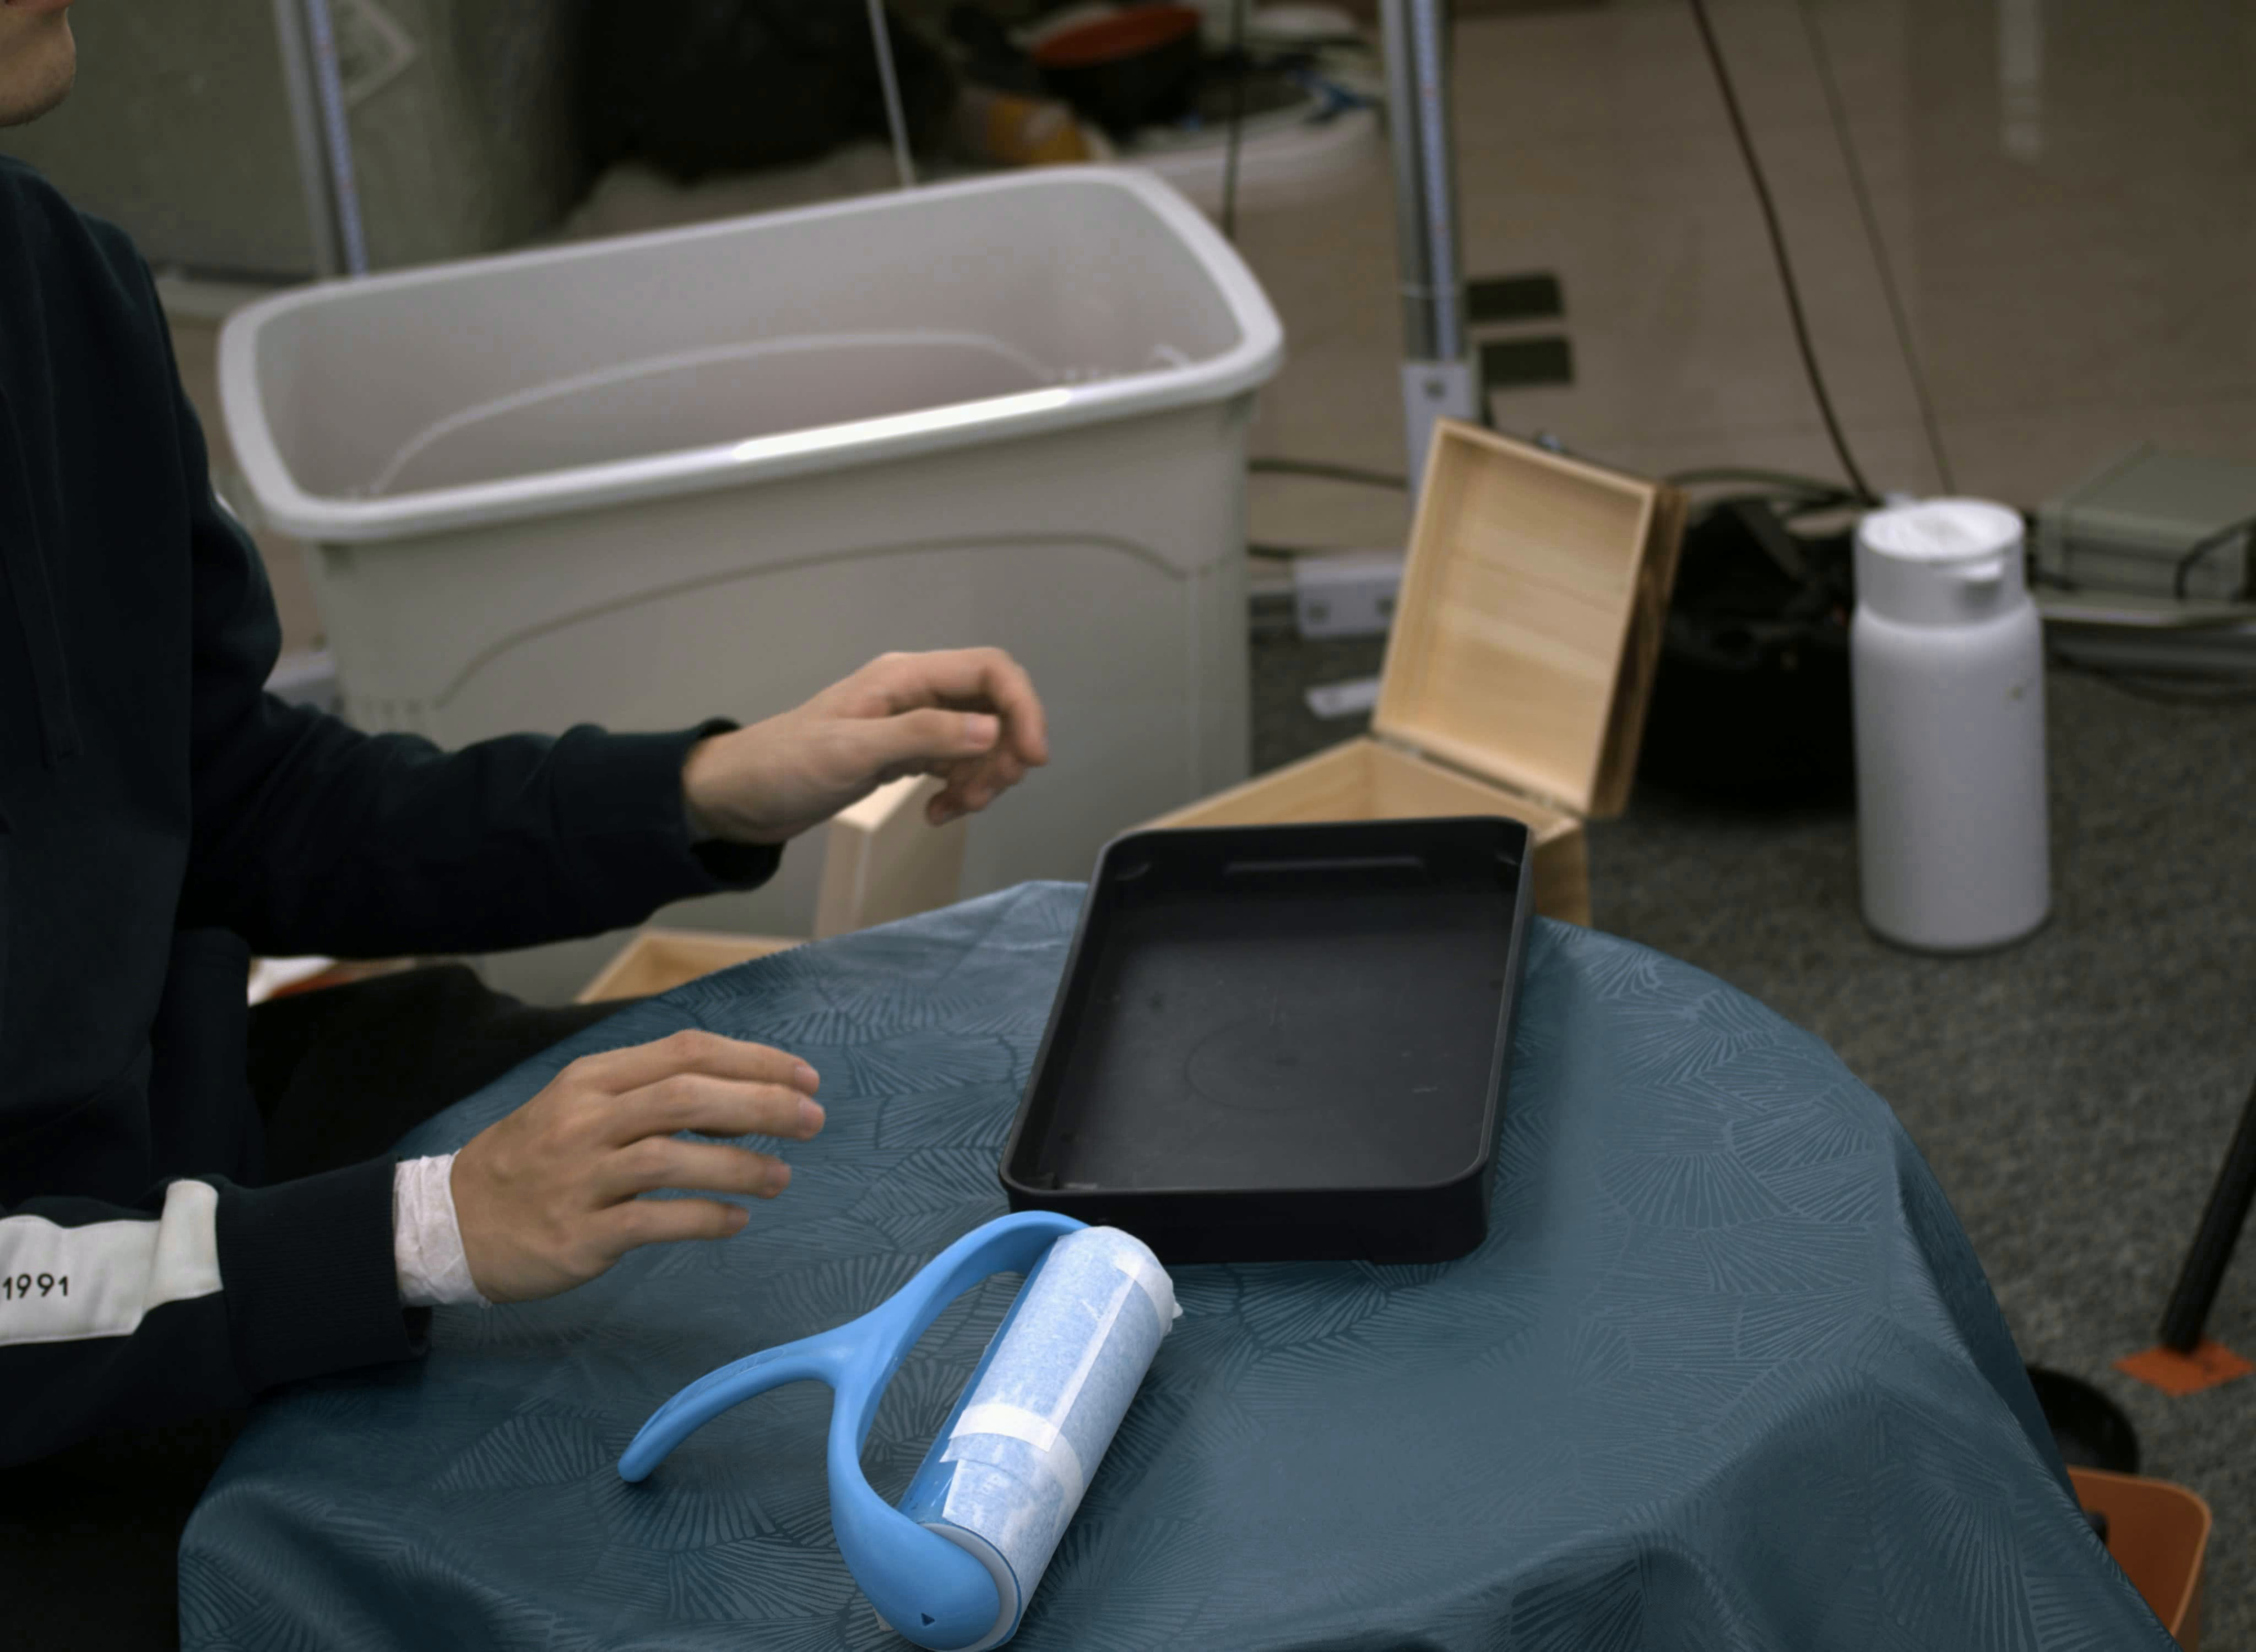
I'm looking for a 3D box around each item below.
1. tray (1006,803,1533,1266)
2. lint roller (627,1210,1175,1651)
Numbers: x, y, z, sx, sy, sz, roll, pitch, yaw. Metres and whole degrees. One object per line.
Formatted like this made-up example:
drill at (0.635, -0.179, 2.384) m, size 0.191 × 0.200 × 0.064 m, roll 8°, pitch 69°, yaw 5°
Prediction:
tray at (0.062, 0.079, 2.217) m, size 0.184 × 0.037 × 0.313 m, roll -3°, pitch 26°, yaw 9°
lint roller at (-0.091, 0.206, 1.956) m, size 0.180 × 0.069 × 0.225 m, roll 1°, pitch 28°, yaw 14°
